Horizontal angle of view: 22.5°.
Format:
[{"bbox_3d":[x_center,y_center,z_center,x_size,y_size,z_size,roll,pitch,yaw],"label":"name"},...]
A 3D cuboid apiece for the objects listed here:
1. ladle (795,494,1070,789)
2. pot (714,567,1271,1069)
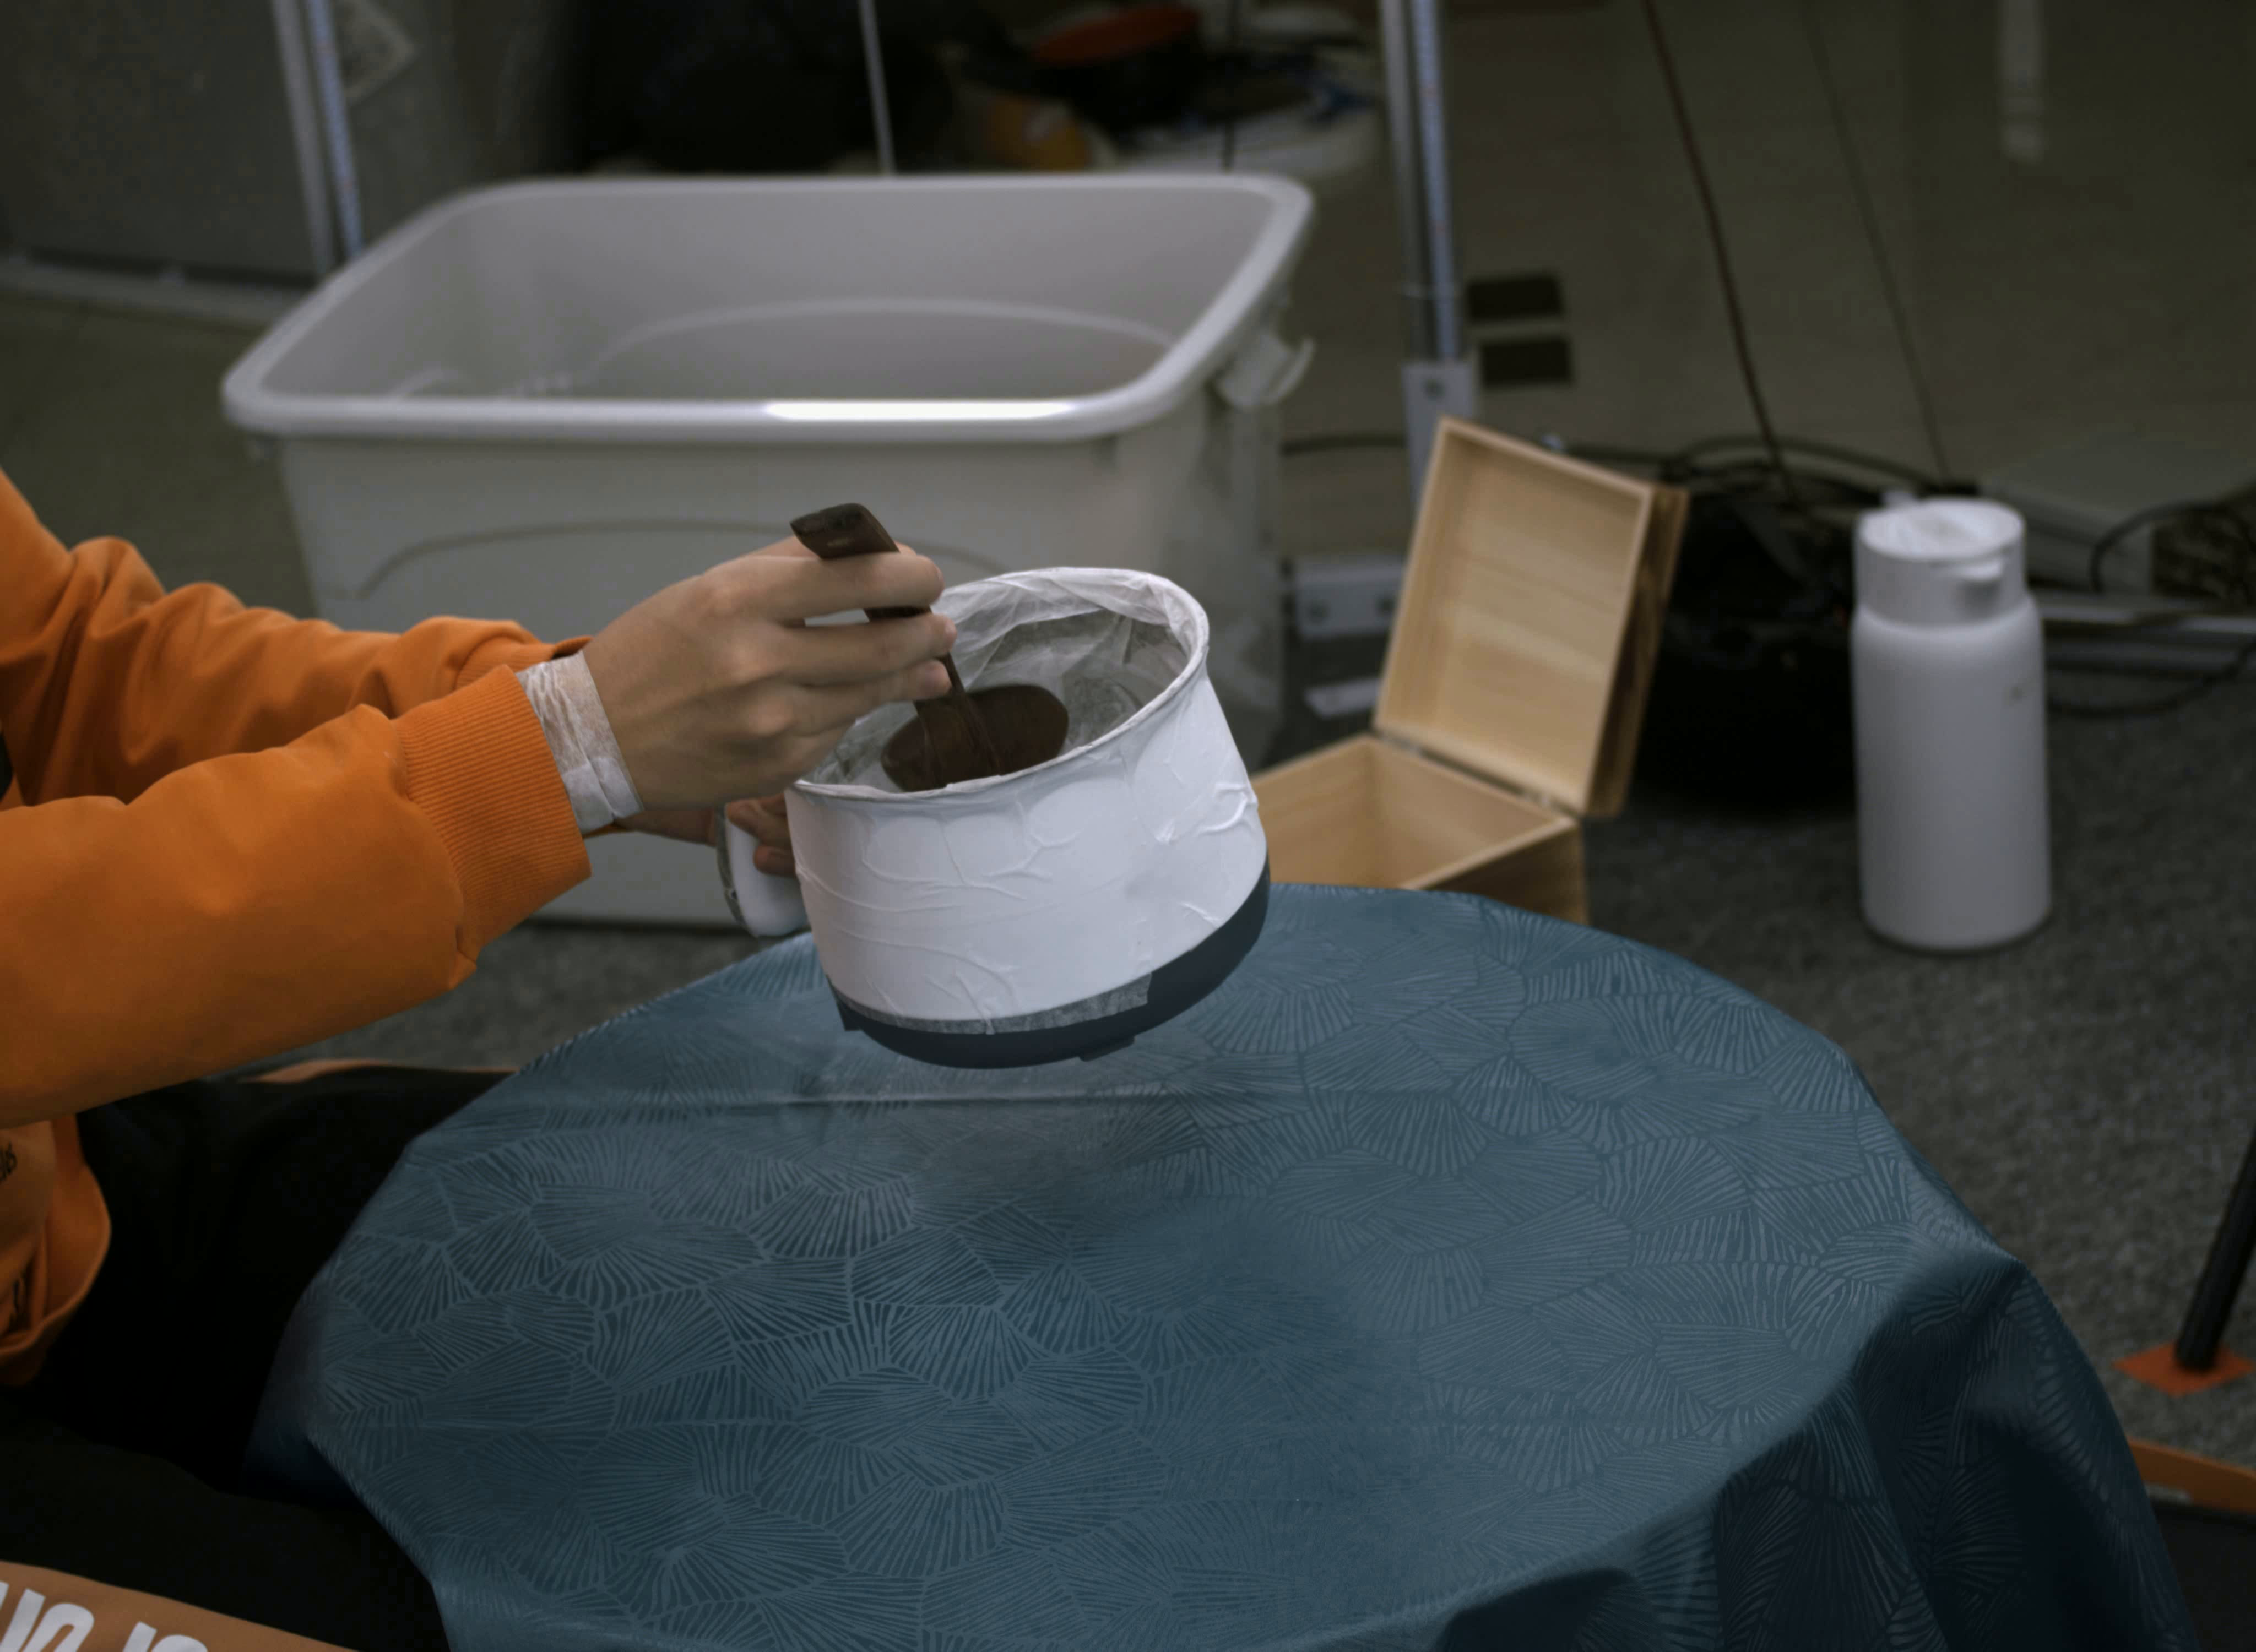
[{"bbox_3d":[-0.081,-0.079,2.047,0.076,0.278,0.070,-21,63,4],"label":"ladle"},{"bbox_3d":[-0.064,-0.002,2.162,0.233,0.139,0.176,3,32,31],"label":"pot"}]
